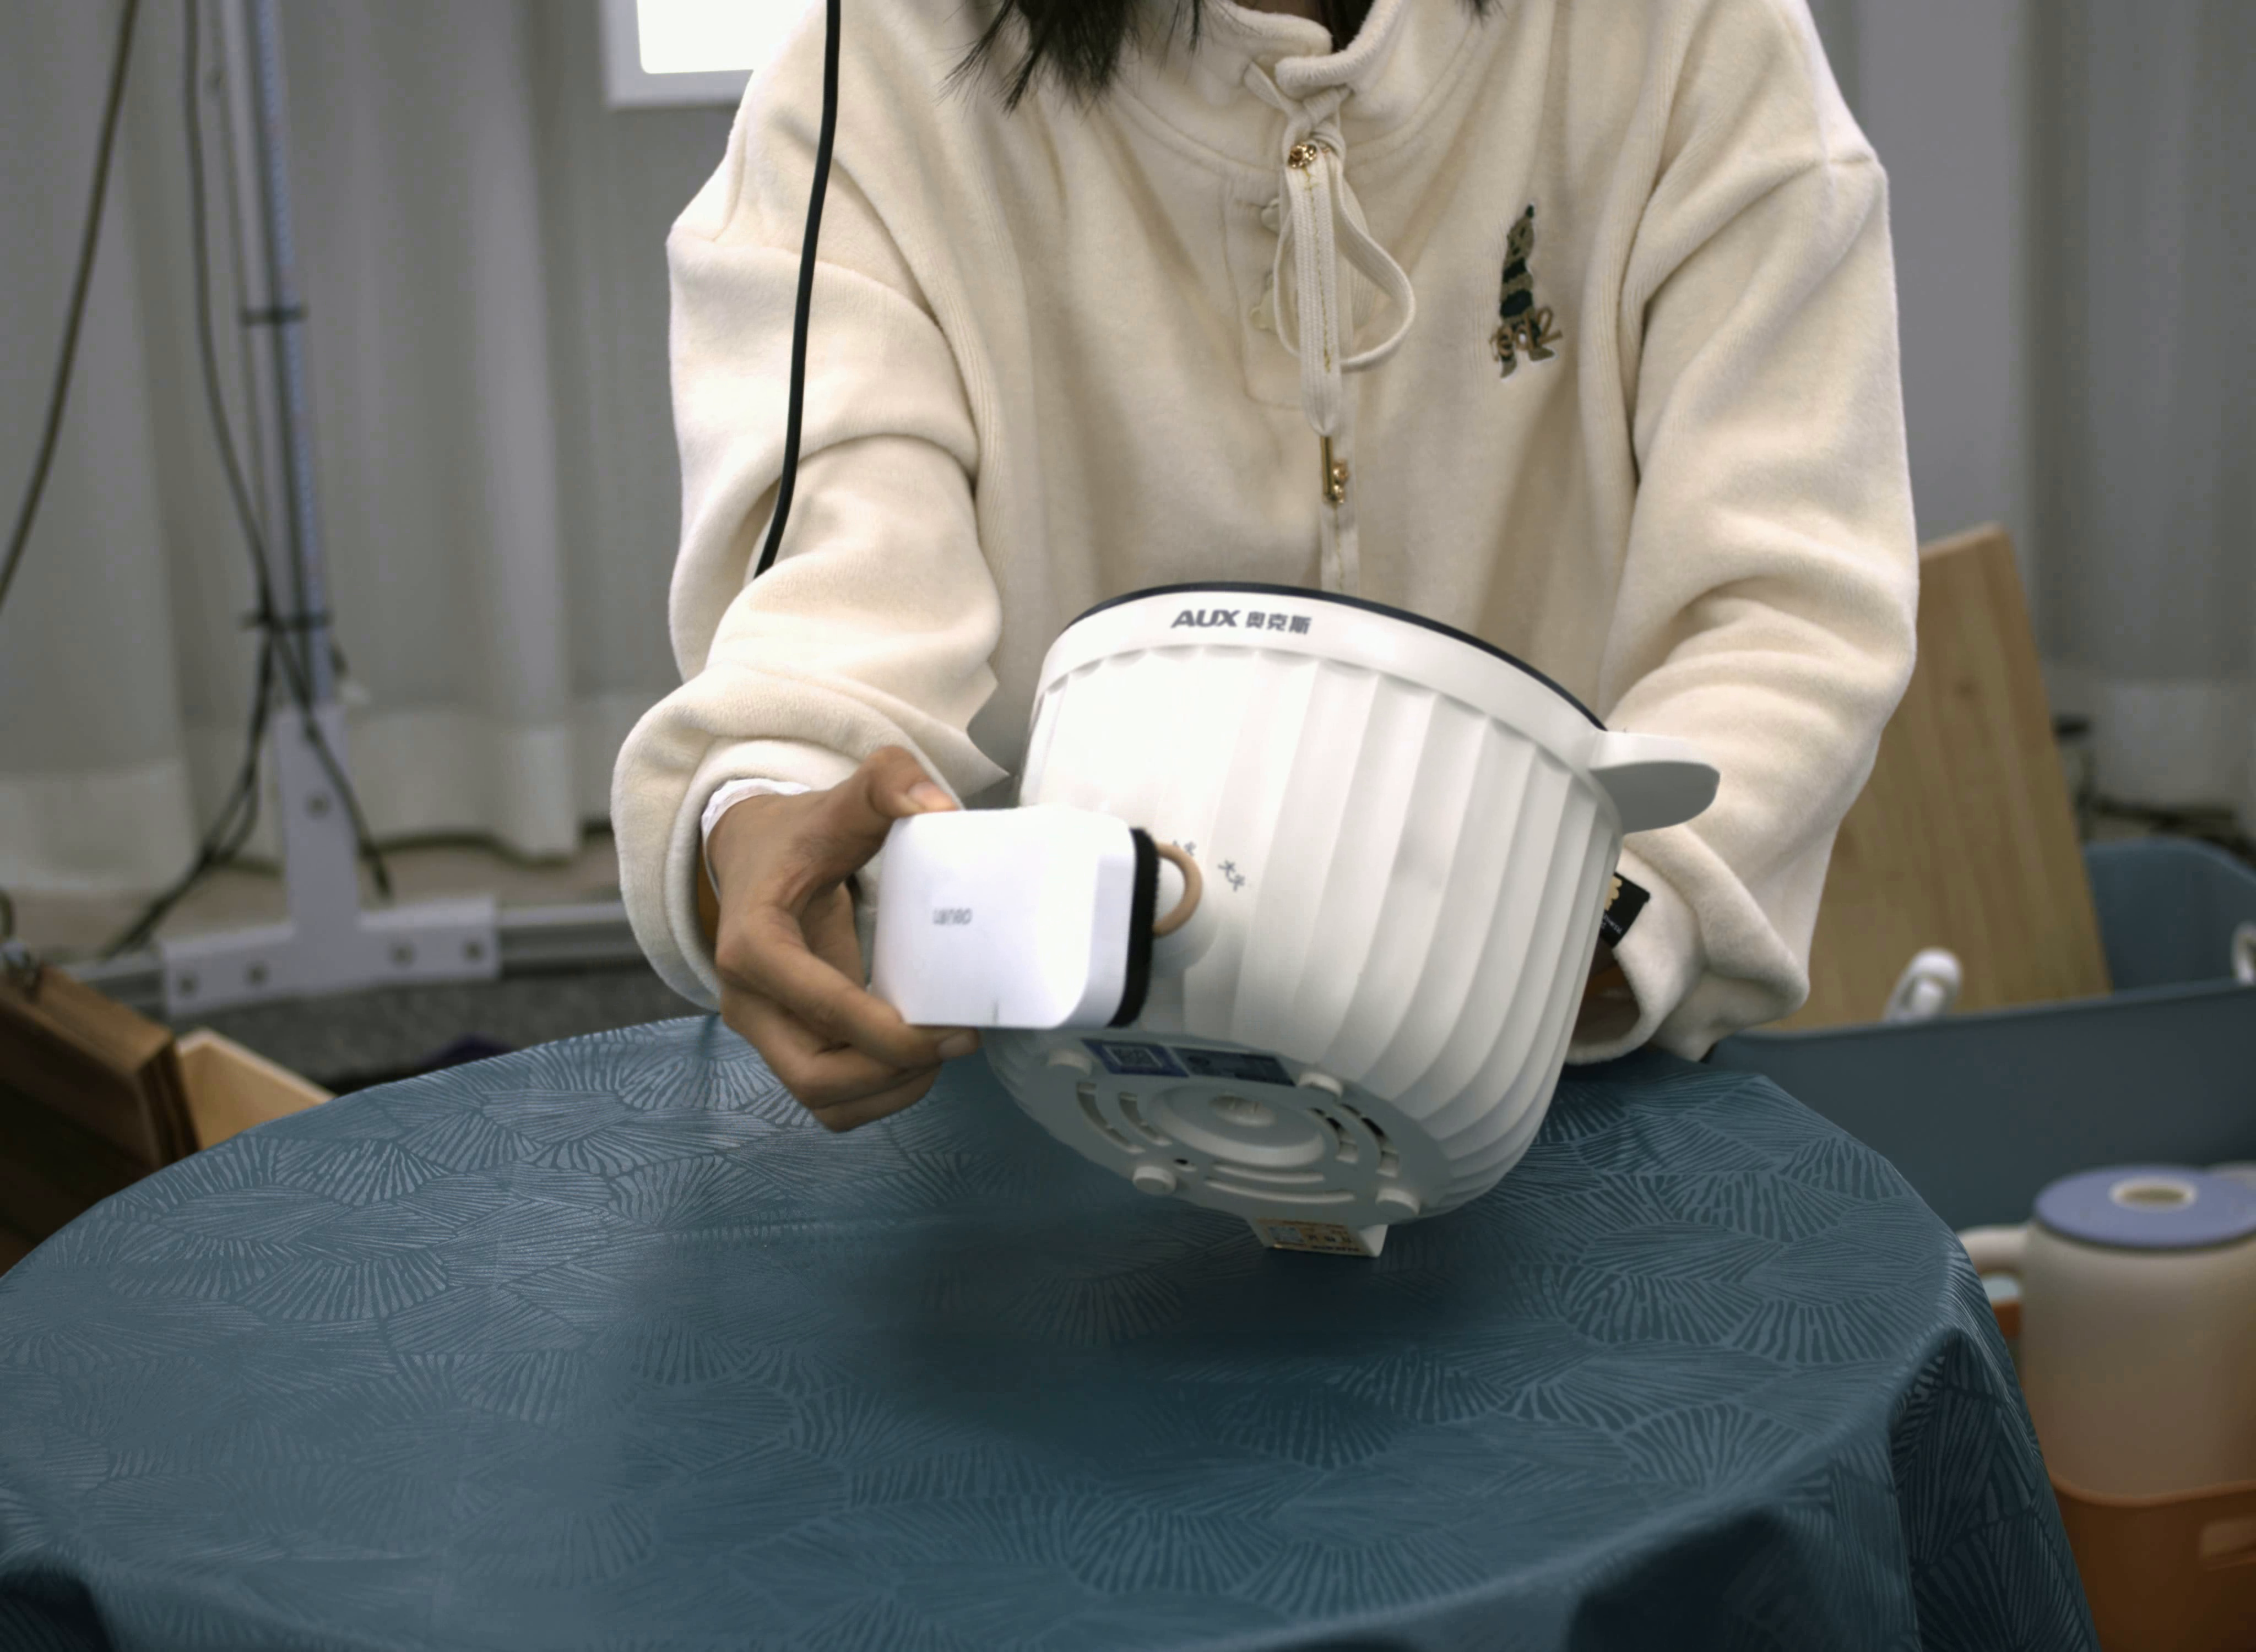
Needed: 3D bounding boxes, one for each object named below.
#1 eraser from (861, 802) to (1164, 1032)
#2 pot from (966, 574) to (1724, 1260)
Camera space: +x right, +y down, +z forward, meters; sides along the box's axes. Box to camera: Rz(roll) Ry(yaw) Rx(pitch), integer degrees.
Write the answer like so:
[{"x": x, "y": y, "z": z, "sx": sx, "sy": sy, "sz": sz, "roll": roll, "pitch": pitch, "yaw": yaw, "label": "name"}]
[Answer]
[{"x": -0.036, "y": 0.027, "z": 1.534, "sx": 0.034, "sy": 0.064, "sz": 0.131, "roll": 12, "pitch": -8, "yaw": -29, "label": "eraser"}, {"x": 0.046, "y": 0.028, "z": 1.605, "sx": 0.240, "sy": 0.188, "sz": 0.144, "roll": 3, "pitch": 58, "yaw": 22, "label": "pot"}]
